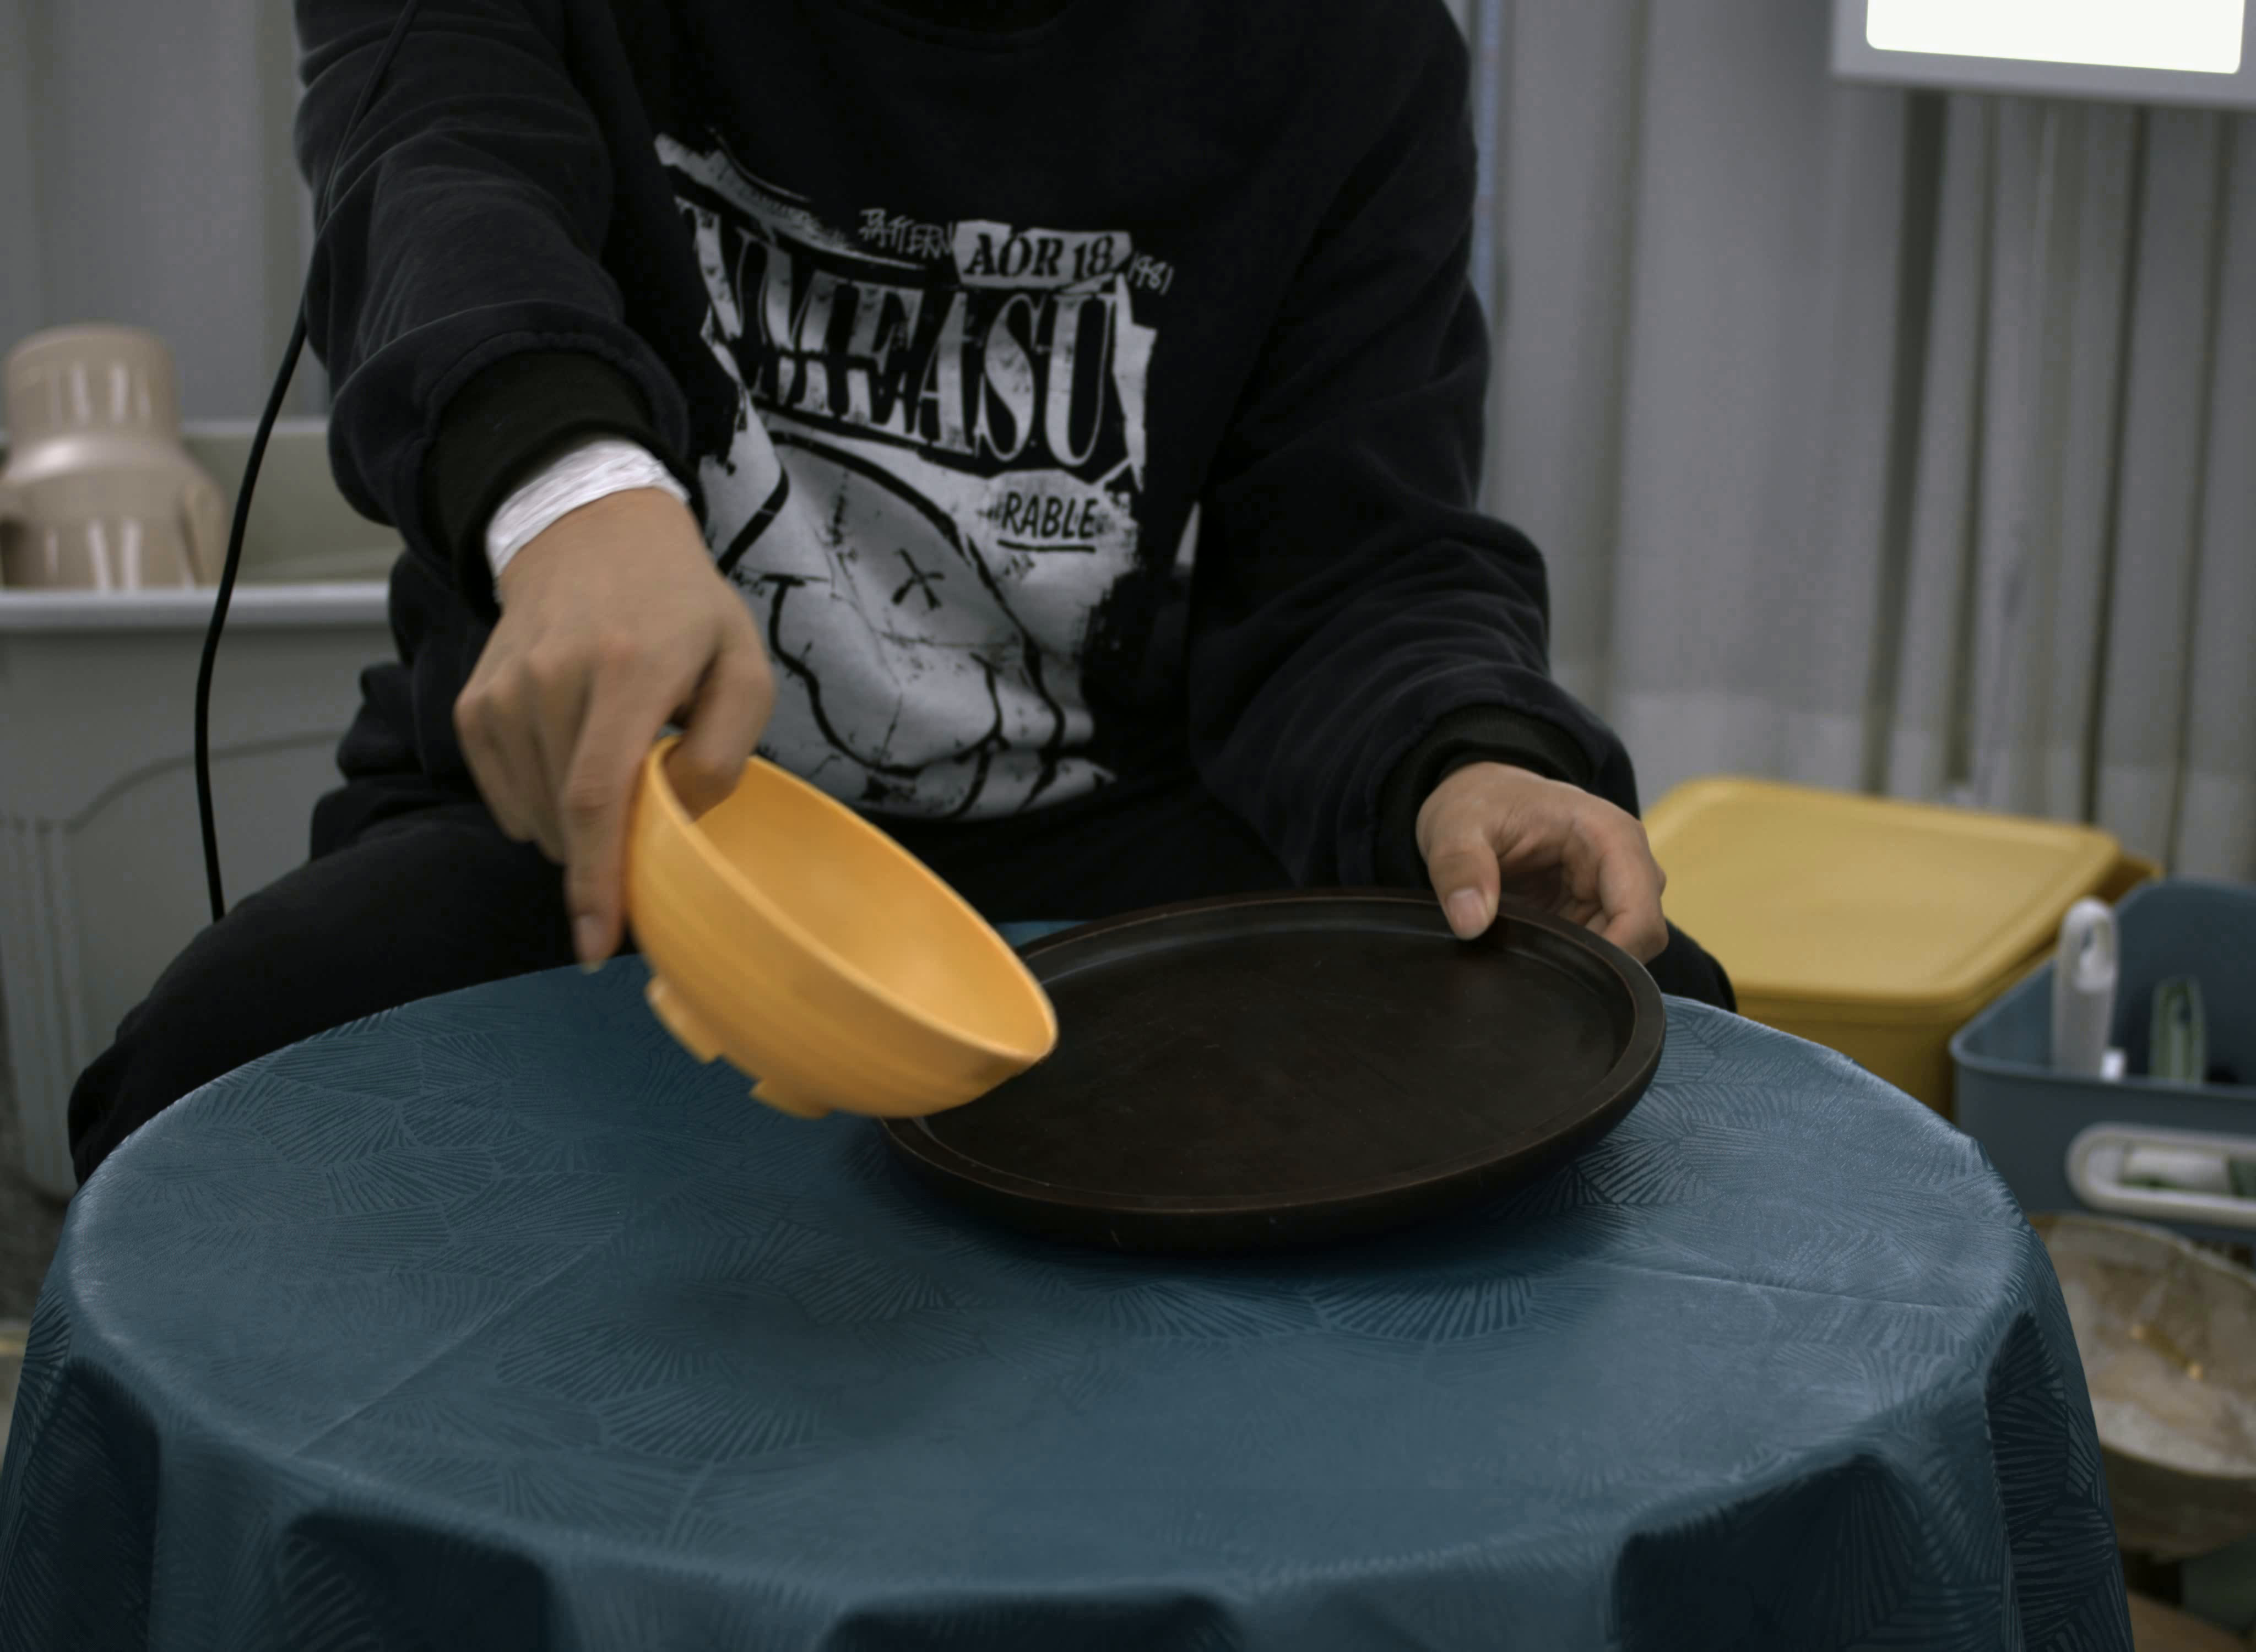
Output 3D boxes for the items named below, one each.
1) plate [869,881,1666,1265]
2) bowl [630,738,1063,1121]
[{"bbox_3d":[0.044,0.075,1.661,0.254,0.029,0.253,-6,21,3],"label":"plate"},{"bbox_3d":[-0.092,0.041,1.512,0.145,0.060,0.144,36,10,-7],"label":"bowl"}]
